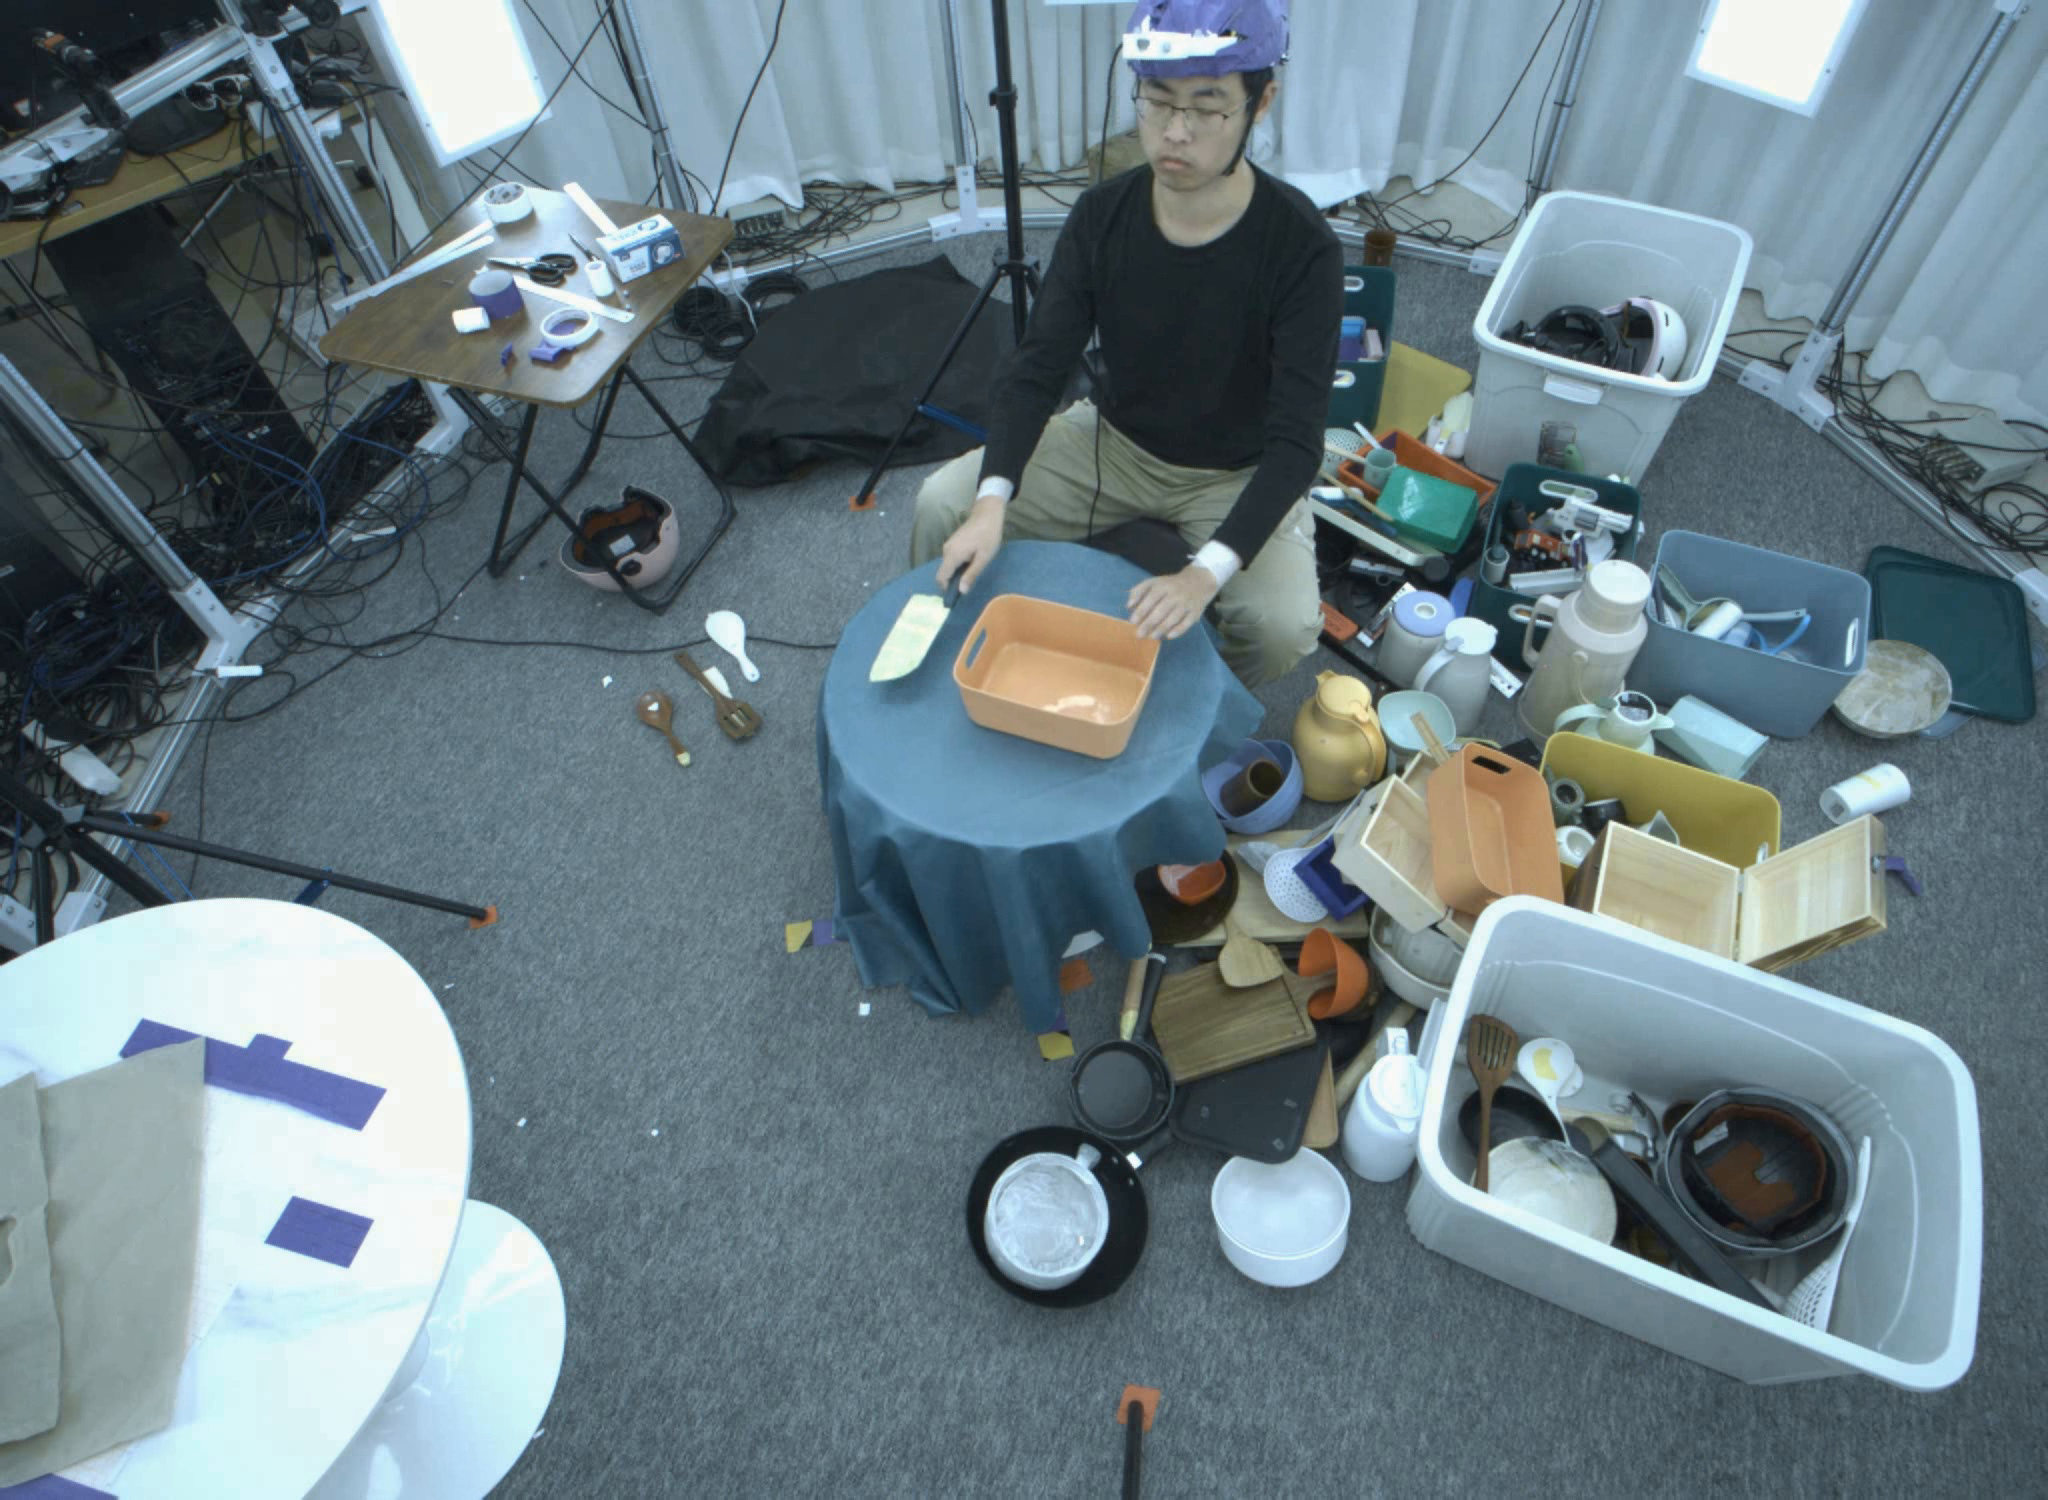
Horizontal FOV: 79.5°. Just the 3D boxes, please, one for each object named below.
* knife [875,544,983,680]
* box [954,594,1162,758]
[{"bbox_3d":[-0.145,-0.215,1.876,0.080,0.027,0.290,21,61,18],"label":"knife"},{"bbox_3d":[0.053,-0.106,1.797,0.270,0.104,0.199,16,58,13],"label":"box"}]
